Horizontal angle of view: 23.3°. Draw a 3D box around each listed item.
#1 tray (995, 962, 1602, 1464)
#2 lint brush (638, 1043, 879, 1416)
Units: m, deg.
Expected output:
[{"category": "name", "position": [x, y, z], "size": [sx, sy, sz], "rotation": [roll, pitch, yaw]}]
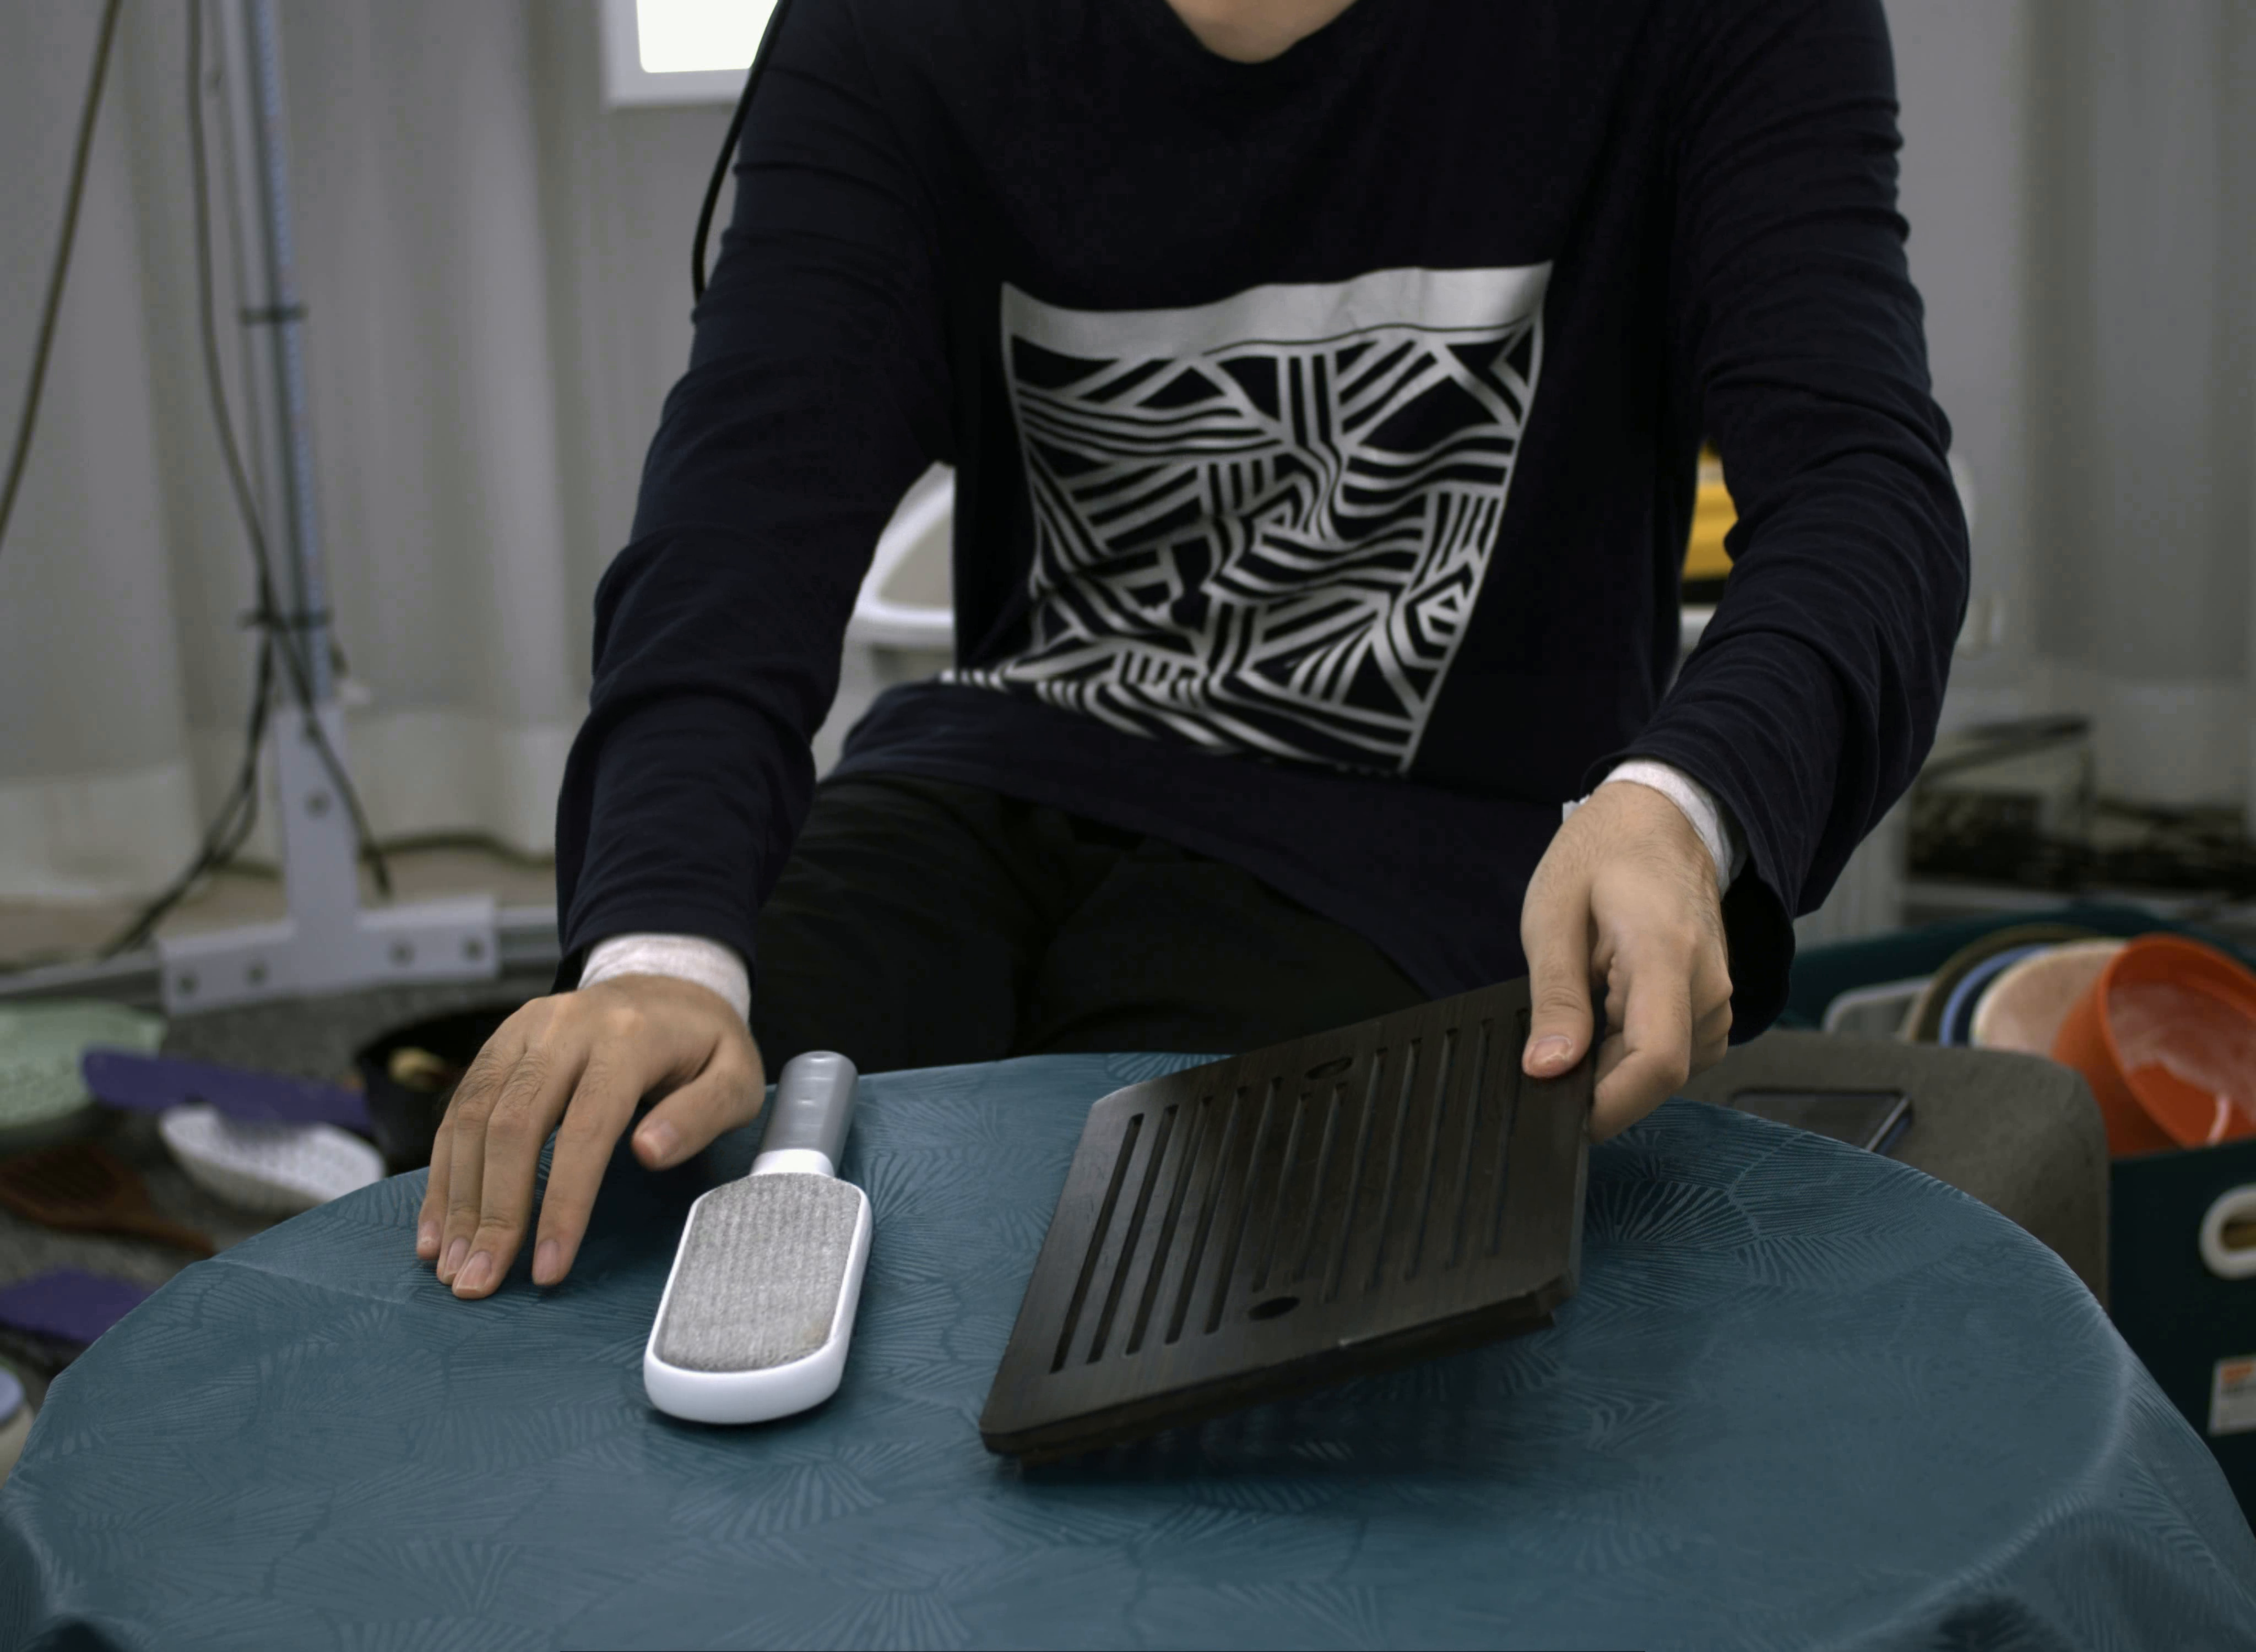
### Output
[{"category": "tray", "position": [0.058, 0.110, 1.609], "size": [0.169, 0.018, 0.307], "rotation": [-16, 13, 9]}, {"category": "lint brush", "position": [-0.105, 0.119, 1.670], "size": [0.060, 0.021, 0.311], "rotation": [-7, 14, 4]}]
